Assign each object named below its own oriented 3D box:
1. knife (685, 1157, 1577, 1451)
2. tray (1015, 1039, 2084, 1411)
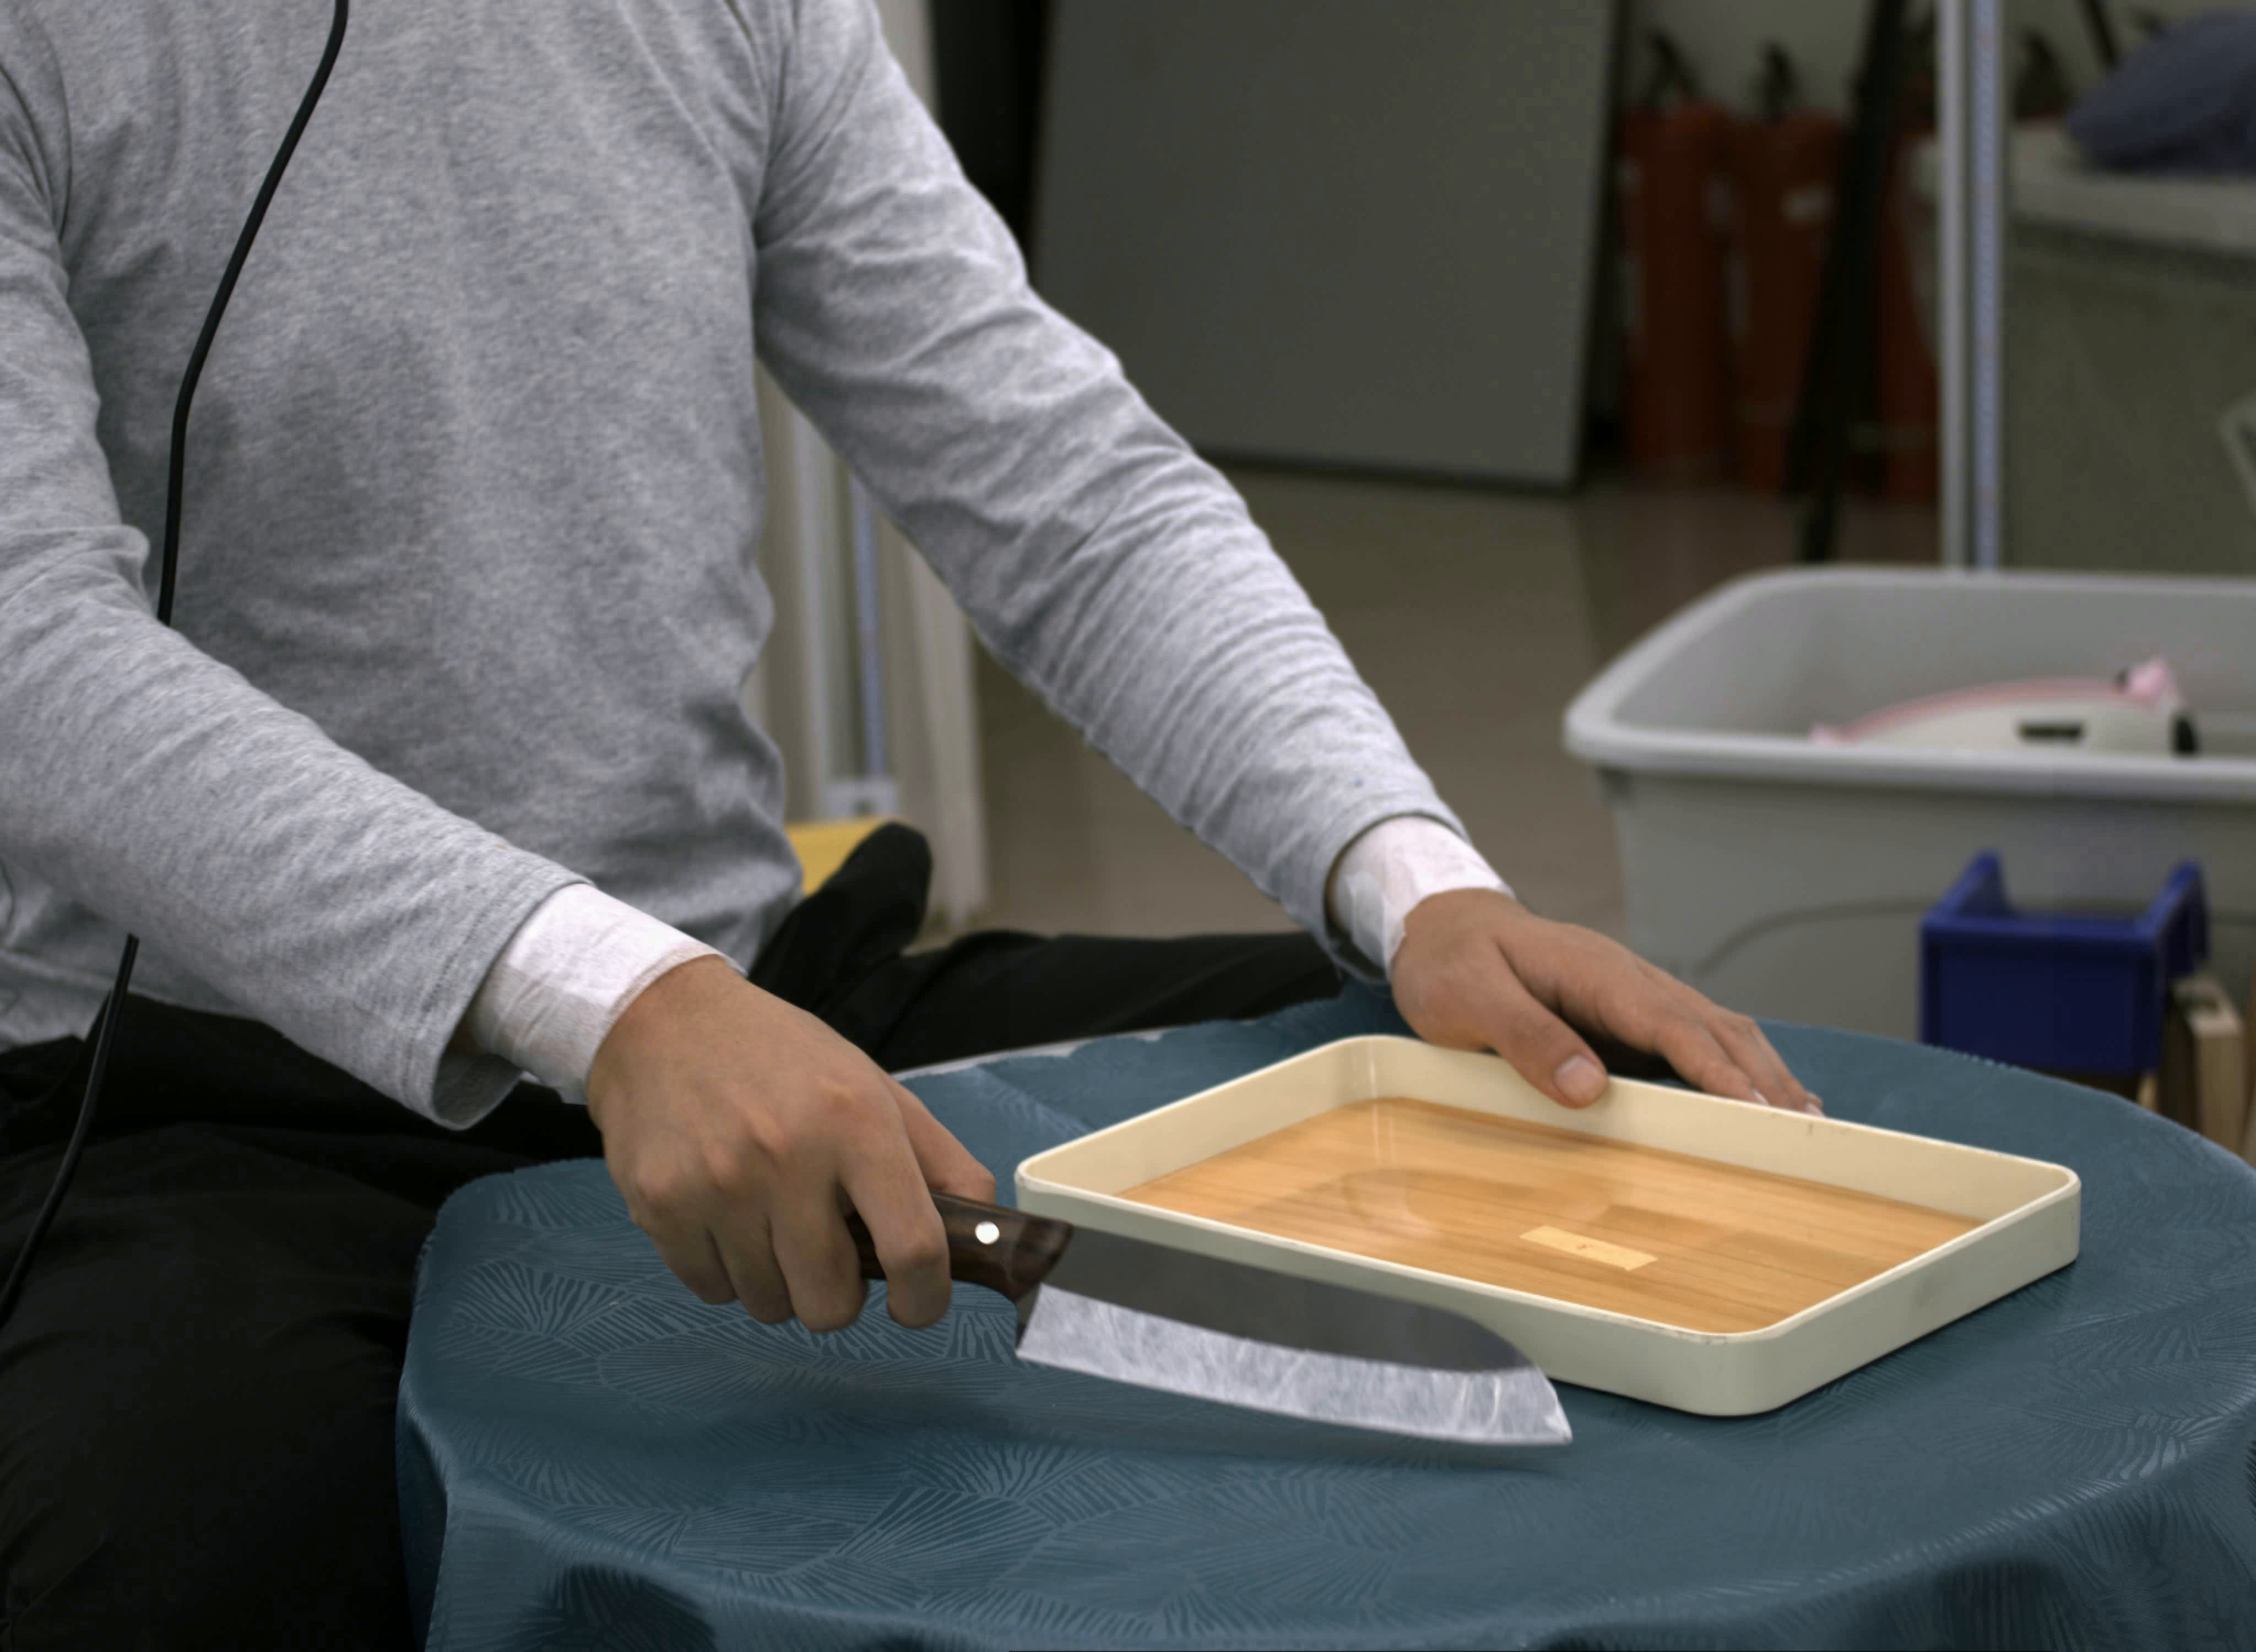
[{"bbox_3d":[-0.003,0.138,1.554,0.289,0.050,0.020,13,-23,23],"label":"knife"},{"bbox_3d":[0.129,0.121,1.684,0.303,0.028,0.188,9,19,43],"label":"tray"}]
